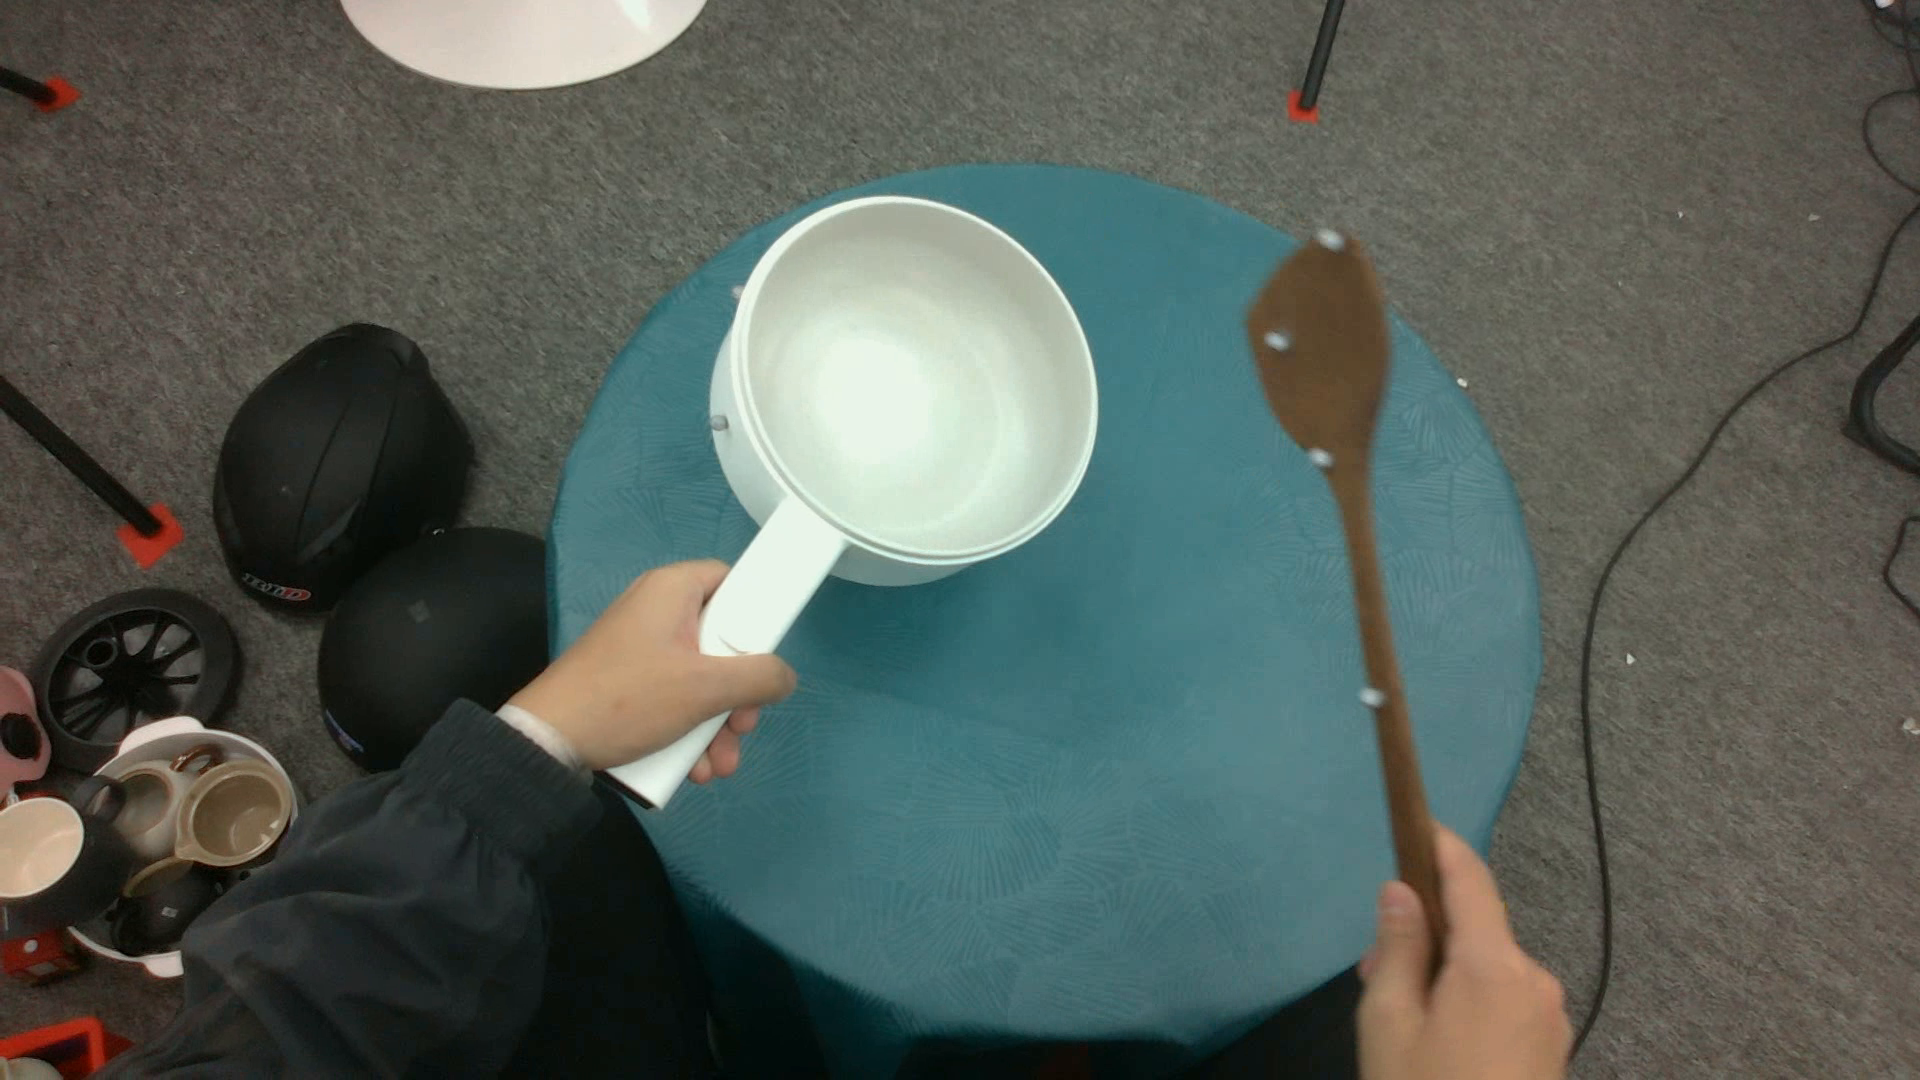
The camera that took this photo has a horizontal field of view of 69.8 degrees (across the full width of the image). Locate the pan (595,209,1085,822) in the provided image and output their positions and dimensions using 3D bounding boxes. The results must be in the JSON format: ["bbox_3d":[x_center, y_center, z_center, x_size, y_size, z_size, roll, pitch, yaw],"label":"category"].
[{"bbox_3d":[-0.077,-0.011,0.732,0.201,0.101,0.356,36,66,-10],"label":"pan"}]

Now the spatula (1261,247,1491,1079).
[{"bbox_3d":[0.194,0.047,0.632,0.016,0.095,0.387,3,70,-21],"label":"spatula"}]
